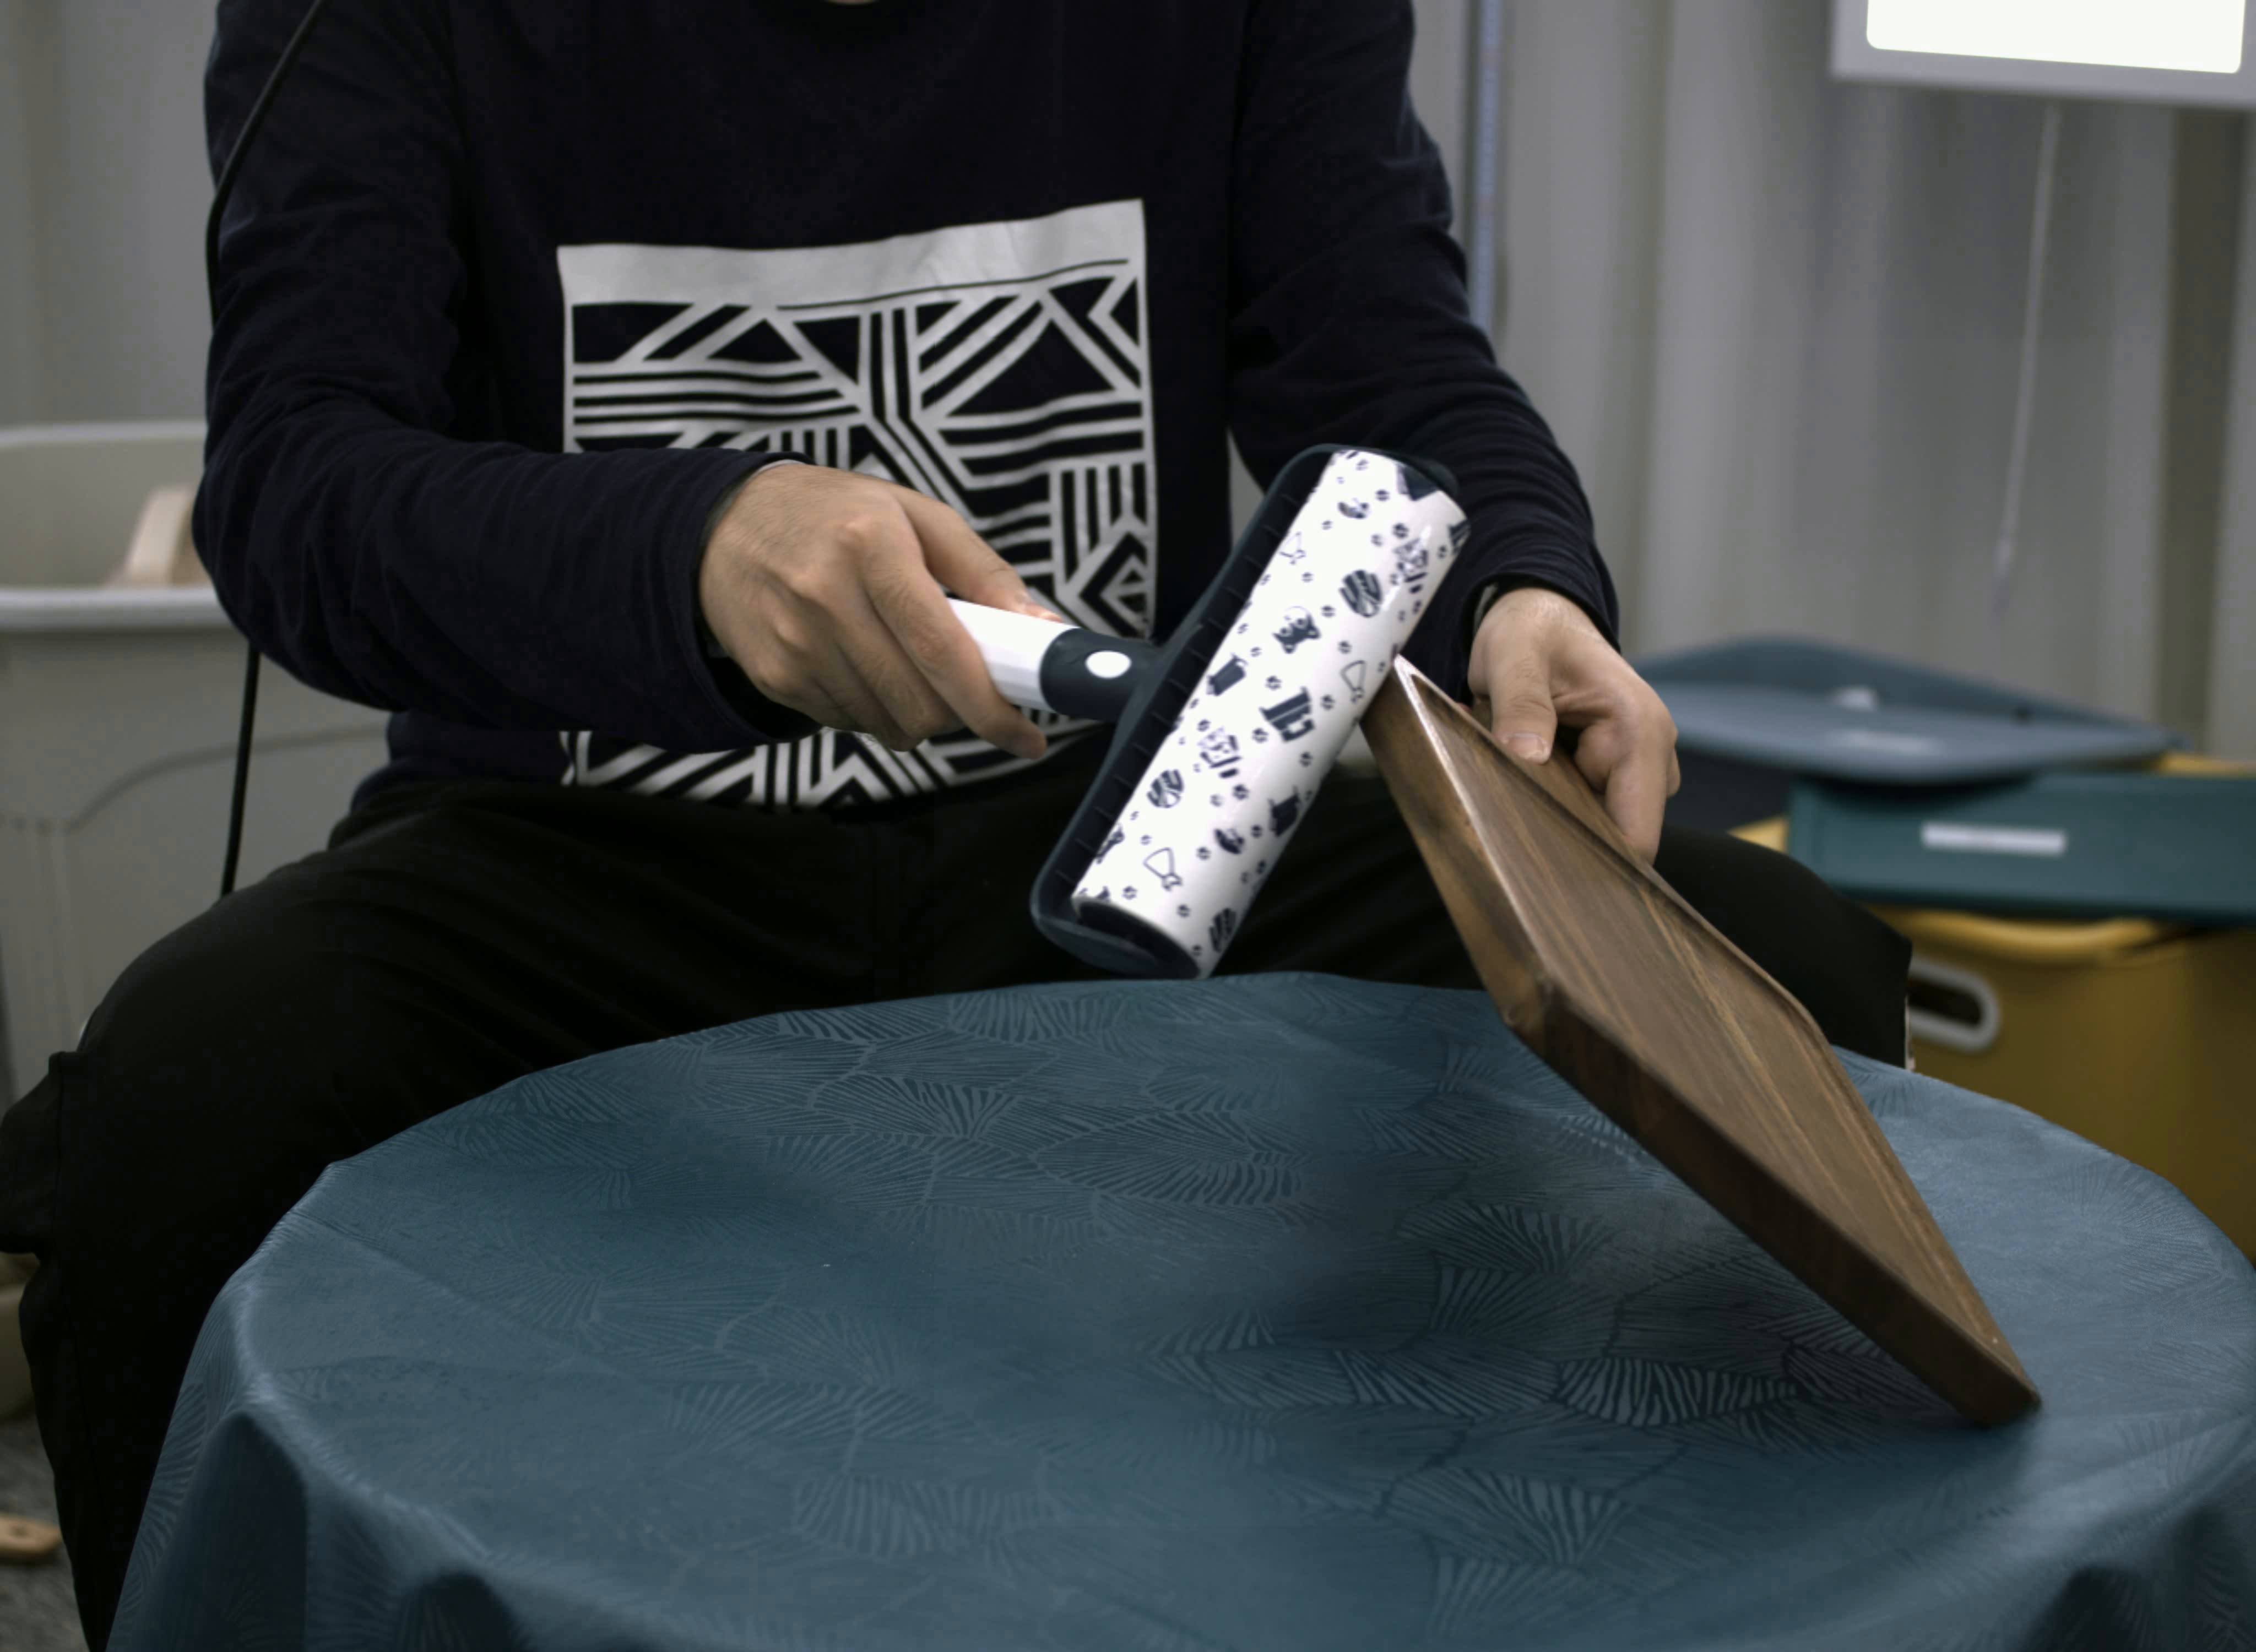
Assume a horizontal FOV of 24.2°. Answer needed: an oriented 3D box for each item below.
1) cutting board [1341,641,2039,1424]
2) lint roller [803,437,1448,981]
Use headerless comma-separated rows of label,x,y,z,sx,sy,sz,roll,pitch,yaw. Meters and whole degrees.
cutting board,0.149,0.035,1.556,0.203,0.023,0.348,40,12,-23
lint roller,-0.027,-0.049,1.621,0.244,0.176,0.051,12,-22,47
